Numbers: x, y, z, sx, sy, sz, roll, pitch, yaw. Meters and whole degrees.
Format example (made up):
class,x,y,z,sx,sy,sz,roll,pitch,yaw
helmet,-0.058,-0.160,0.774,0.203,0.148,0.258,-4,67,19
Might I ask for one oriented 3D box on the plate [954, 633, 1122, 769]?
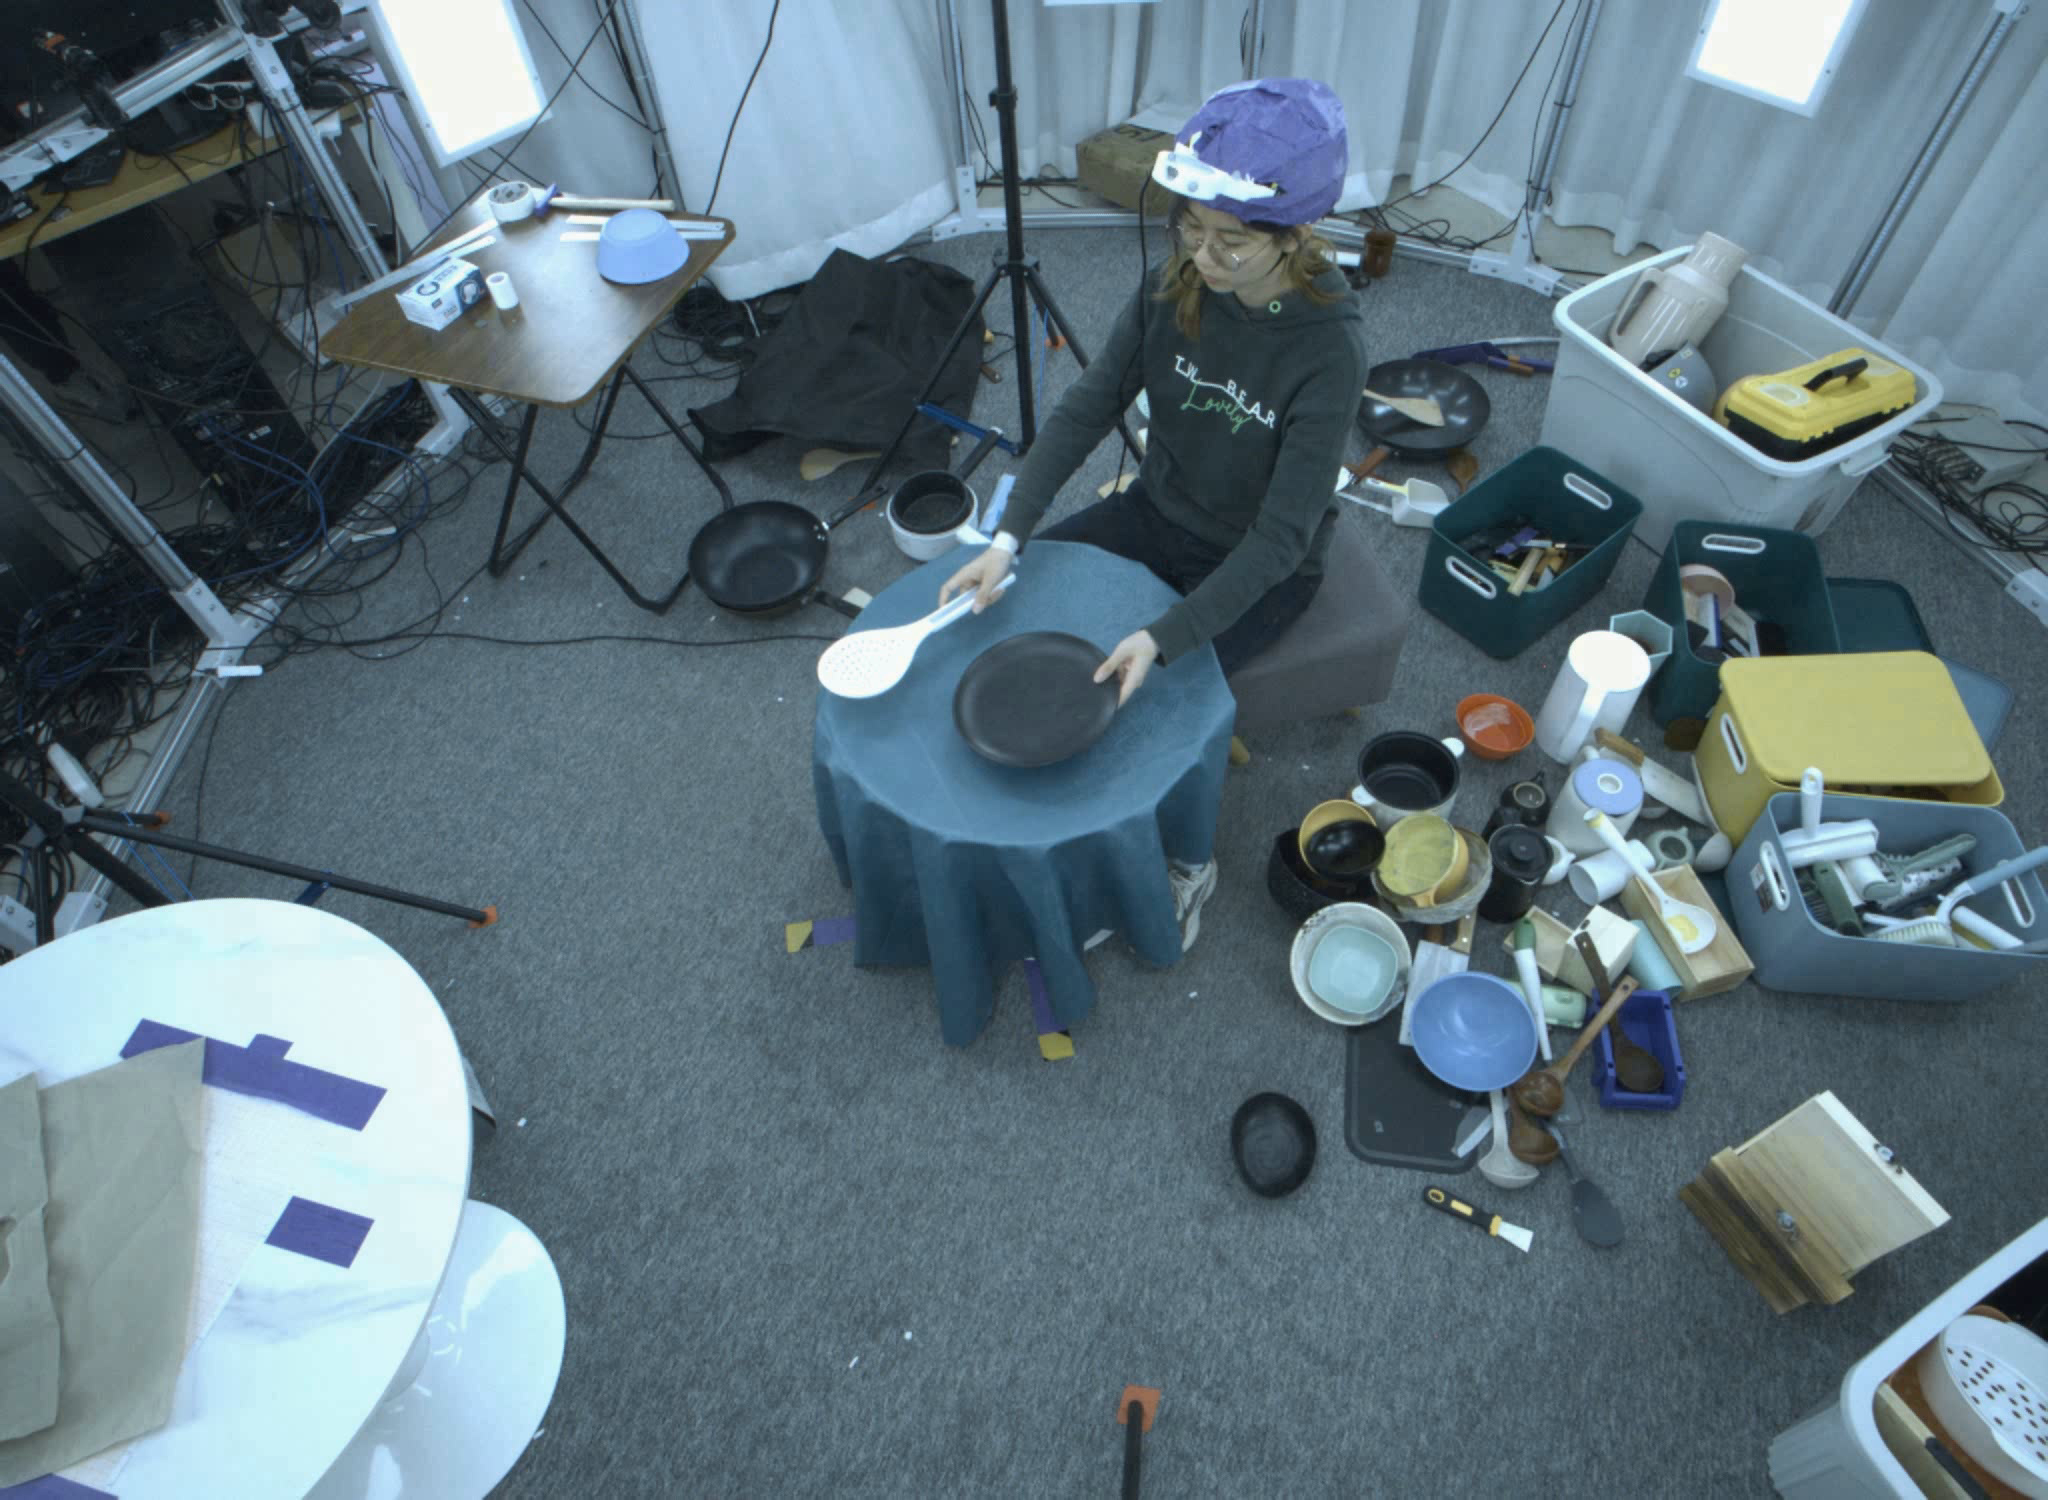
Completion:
class,x,y,z,sx,sy,sz,roll,pitch,yaw
plate,0.021,-0.068,1.770,0.243,0.024,0.242,-4,56,7

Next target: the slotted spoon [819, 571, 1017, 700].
class,x,y,z,sx,sy,sz,roll,pitch,yaw
slotted spoon,-0.153,-0.179,1.851,0.352,0.046,0.133,-38,56,-18
